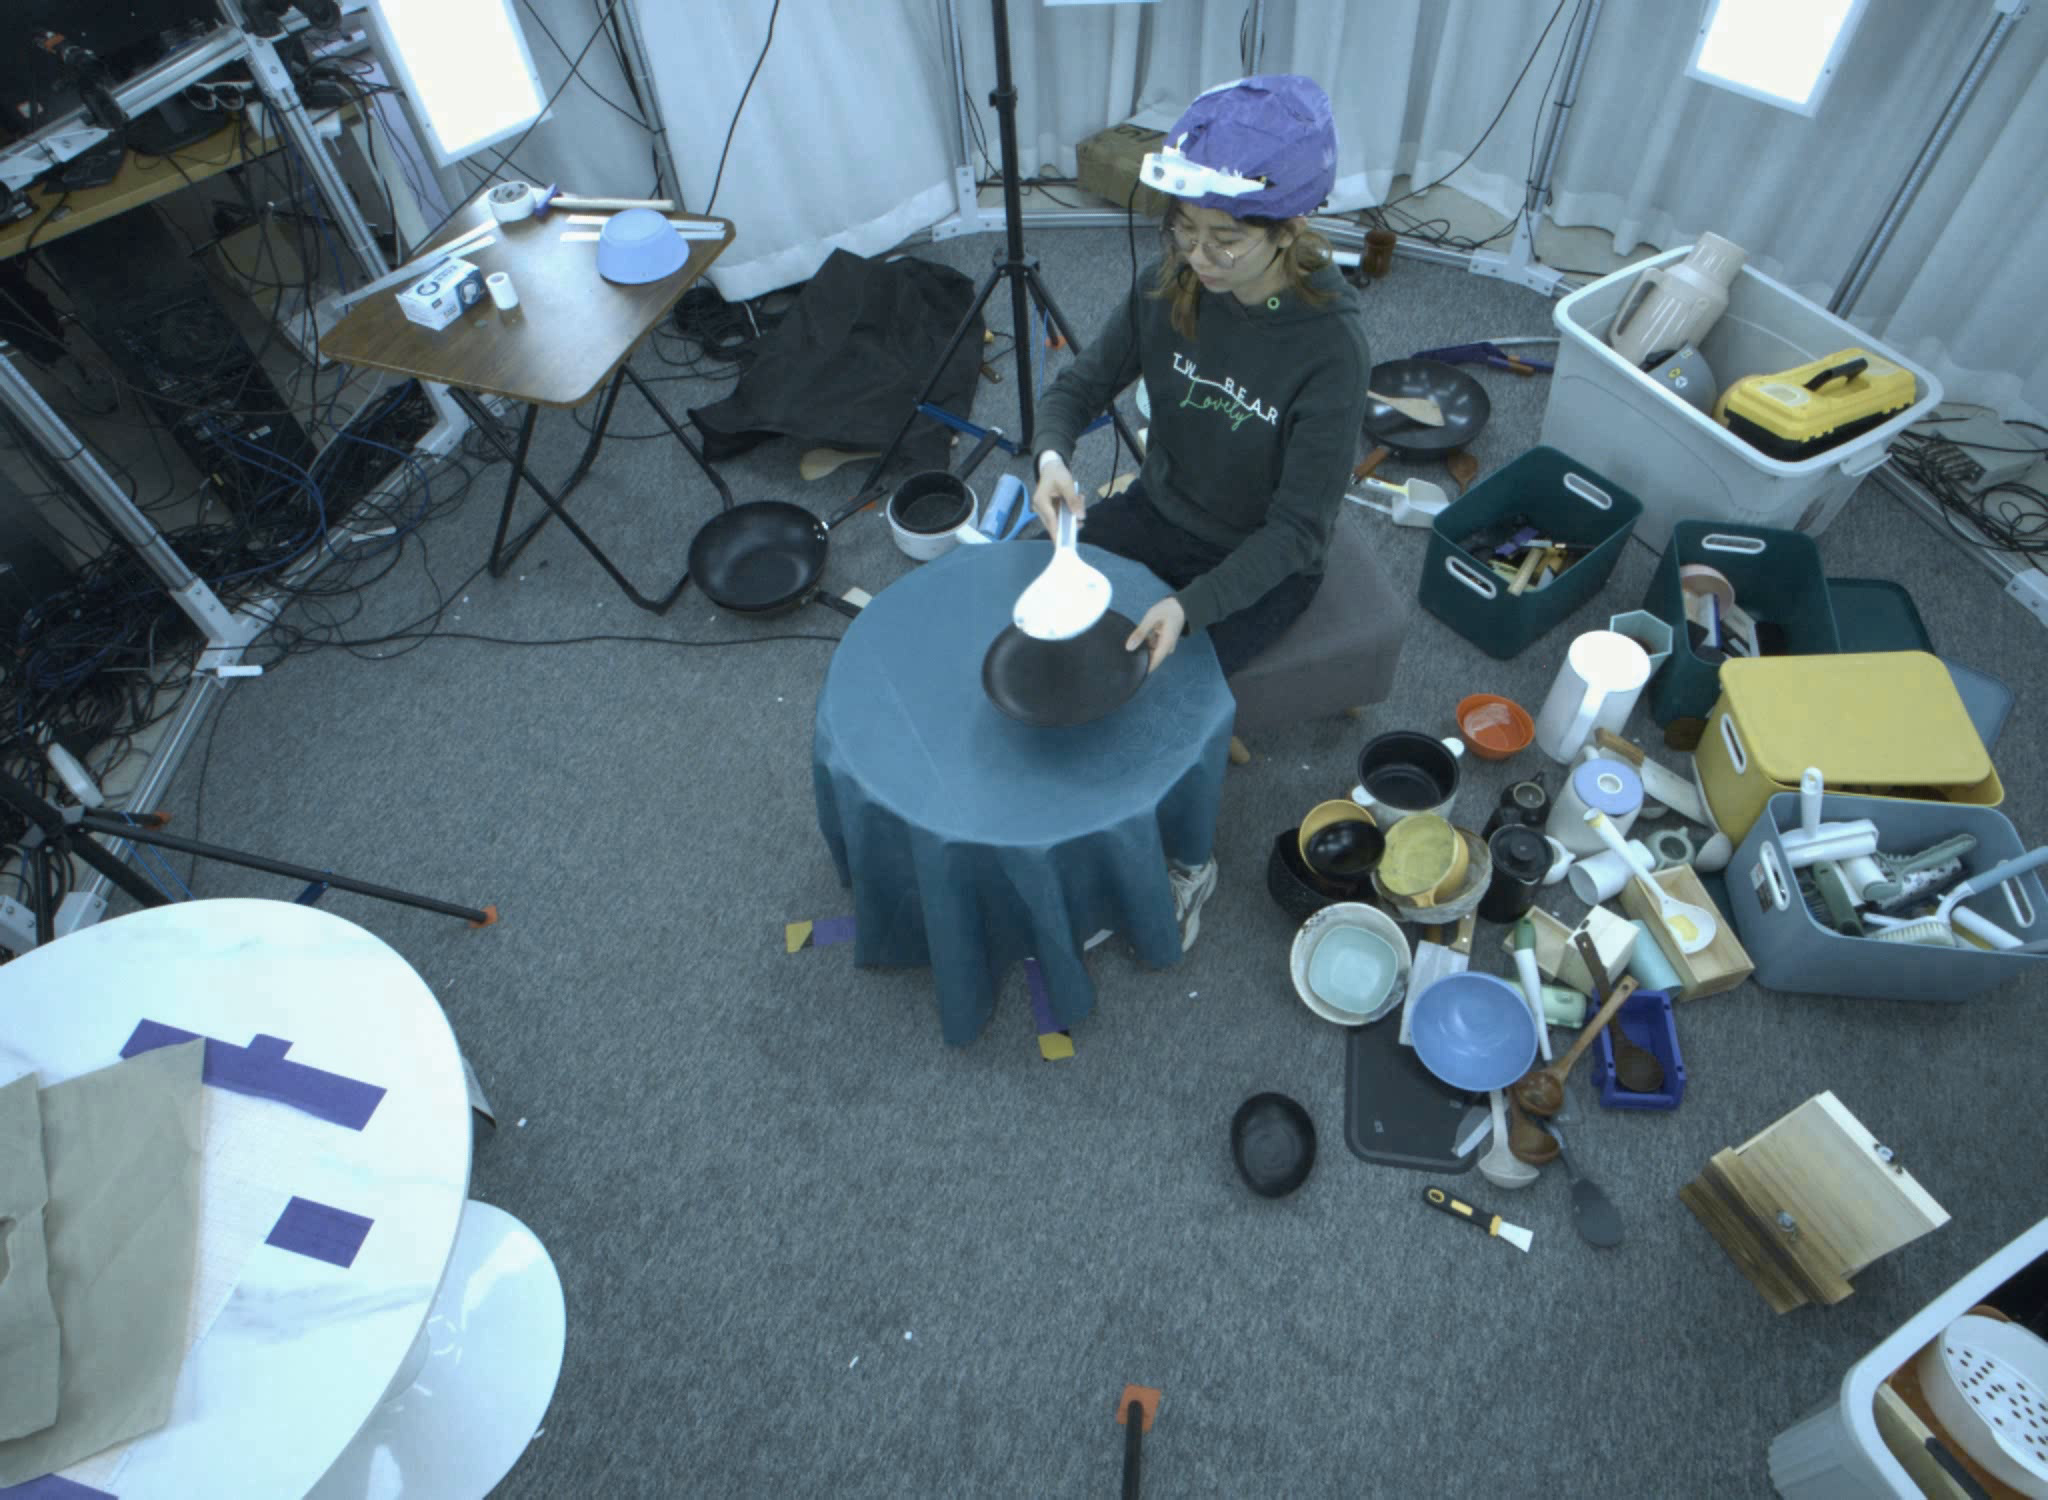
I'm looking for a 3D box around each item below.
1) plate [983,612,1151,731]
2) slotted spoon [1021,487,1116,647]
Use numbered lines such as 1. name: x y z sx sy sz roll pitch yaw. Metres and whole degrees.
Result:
1. plate: 0.062 -0.114 1.769 0.243 0.024 0.242 -4 51 6
2. slotted spoon: 0.066 -0.266 1.747 0.135 0.046 0.346 -10 51 14
